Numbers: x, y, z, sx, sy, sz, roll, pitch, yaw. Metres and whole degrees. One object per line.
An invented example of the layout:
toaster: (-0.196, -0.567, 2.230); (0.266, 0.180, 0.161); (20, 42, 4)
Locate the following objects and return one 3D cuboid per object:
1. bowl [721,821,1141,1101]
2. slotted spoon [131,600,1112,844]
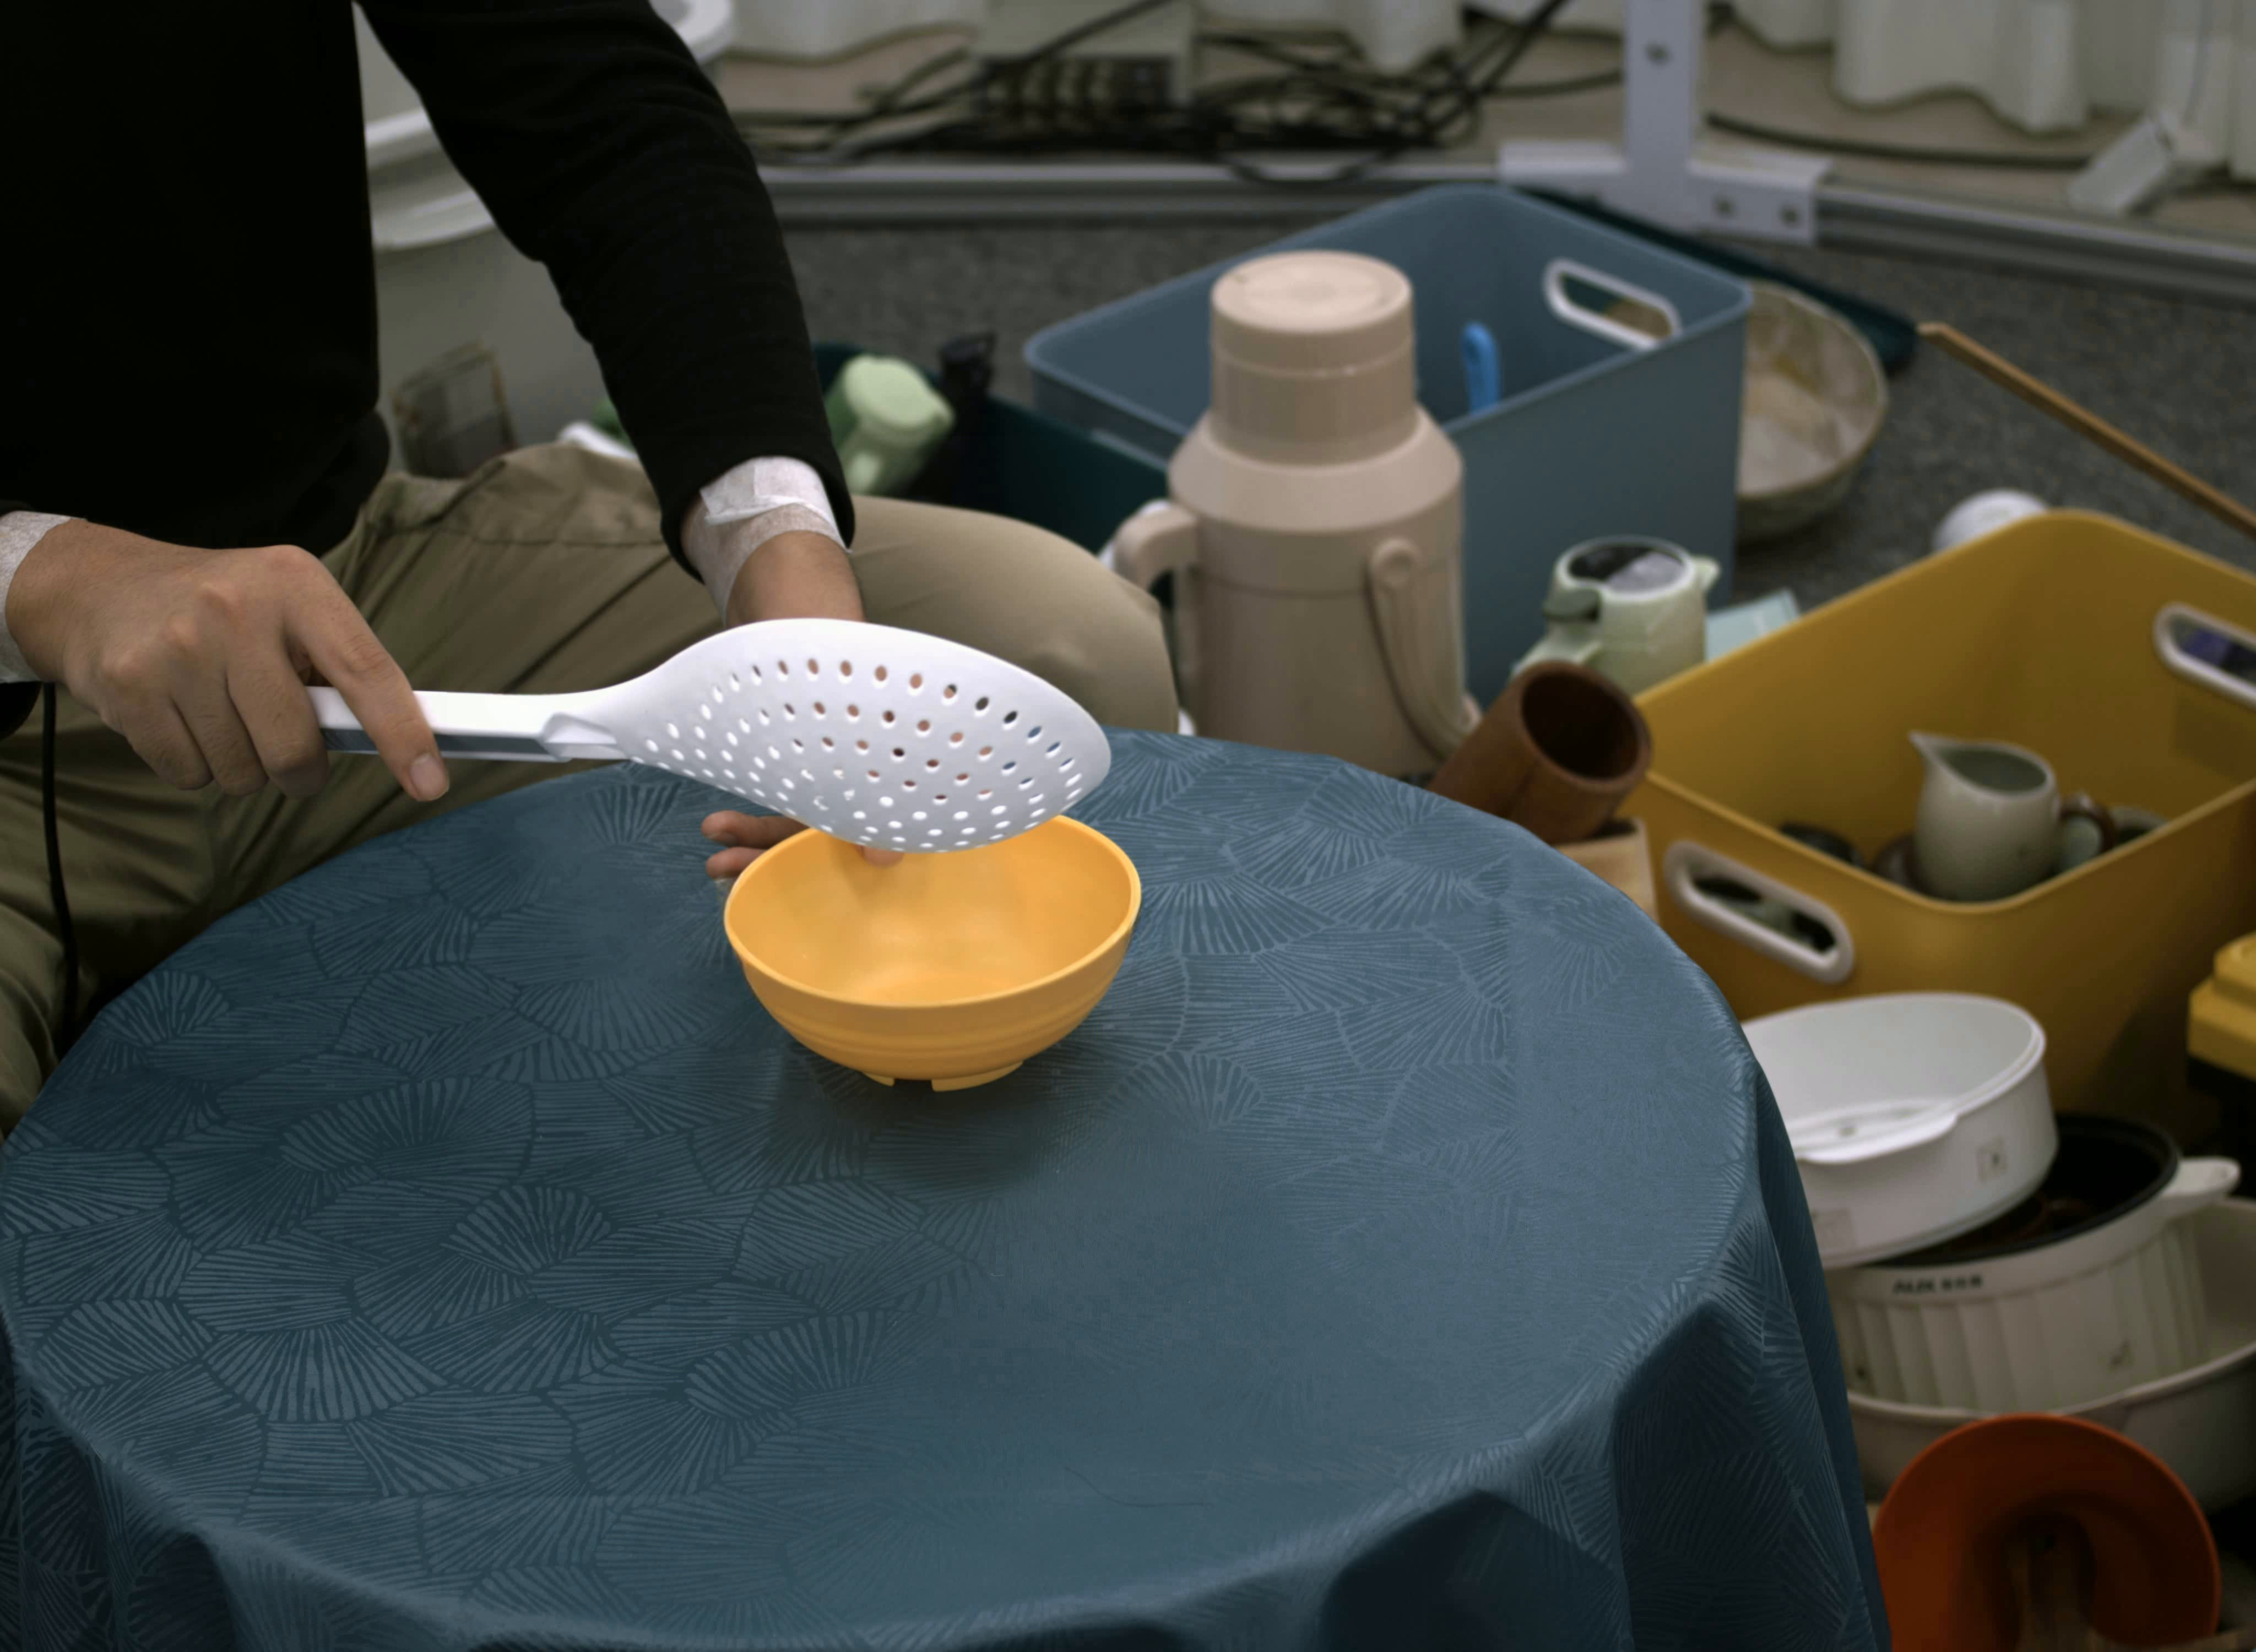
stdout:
bowl: (-0.066, 0.055, 1.943); (0.144, 0.059, 0.147); (-2, 24, 1)
slotted spoon: (-0.170, -0.034, 1.810); (0.347, 0.135, 0.046); (6, 67, 26)
